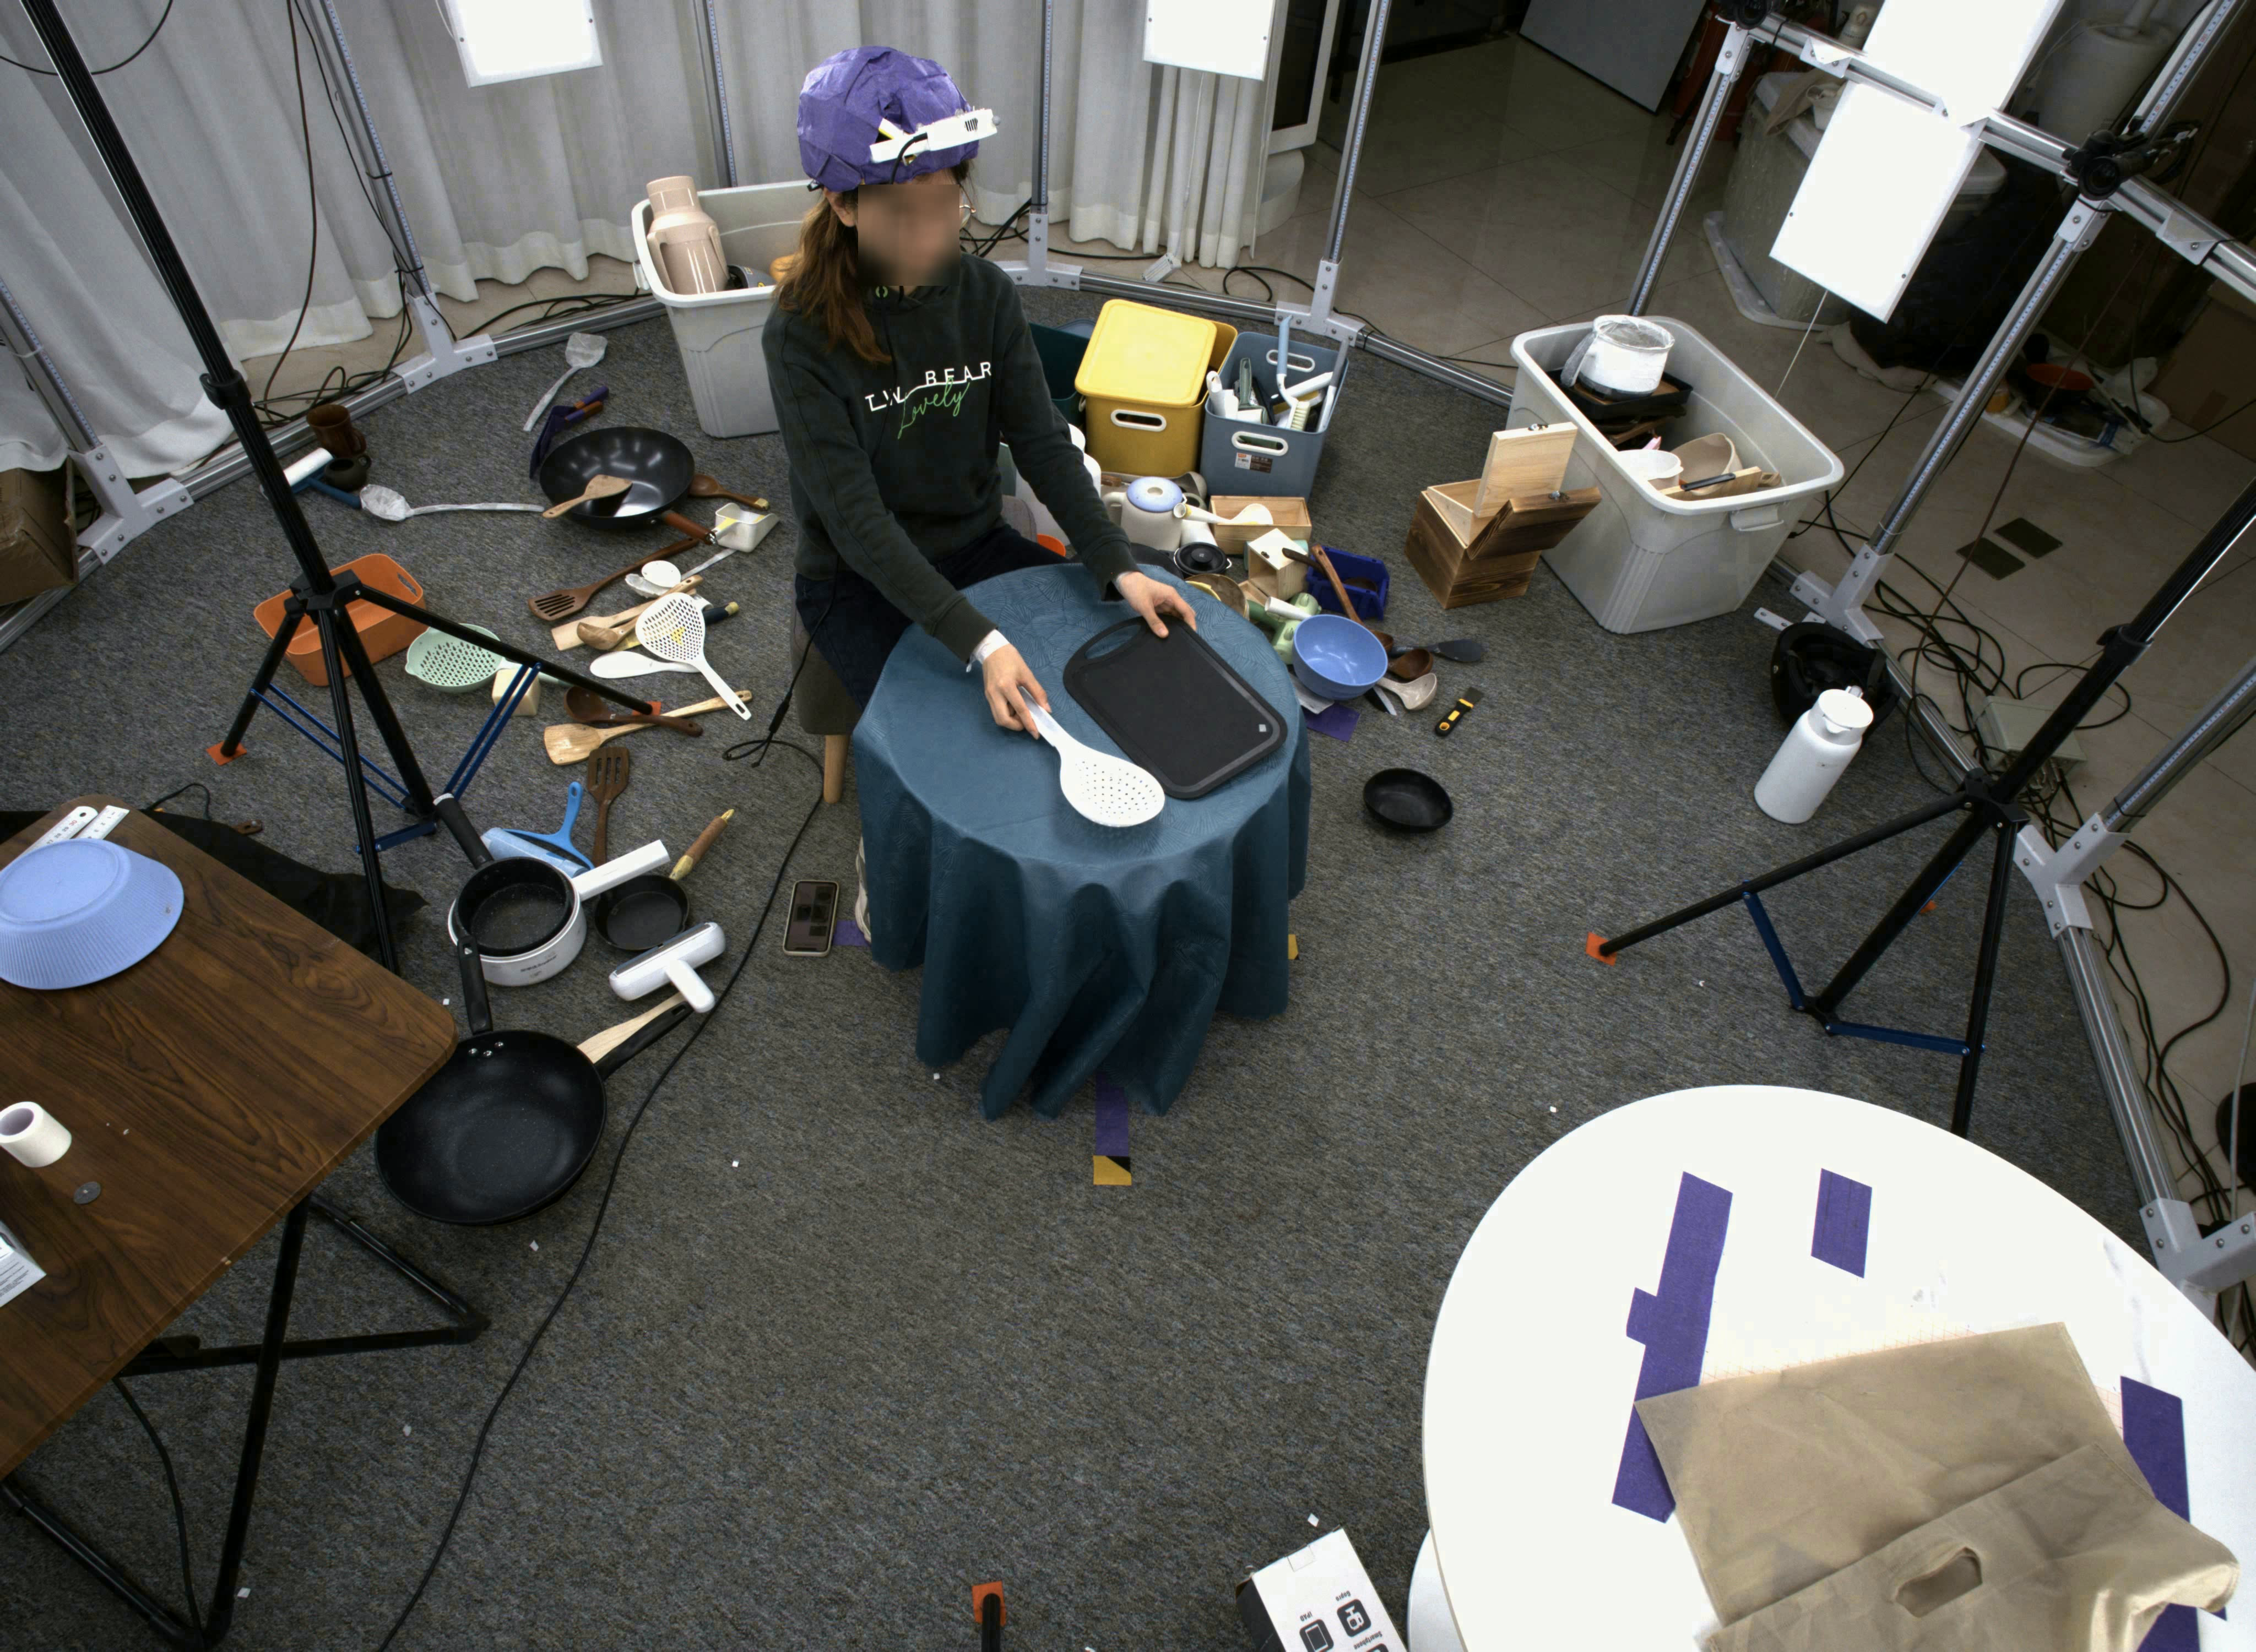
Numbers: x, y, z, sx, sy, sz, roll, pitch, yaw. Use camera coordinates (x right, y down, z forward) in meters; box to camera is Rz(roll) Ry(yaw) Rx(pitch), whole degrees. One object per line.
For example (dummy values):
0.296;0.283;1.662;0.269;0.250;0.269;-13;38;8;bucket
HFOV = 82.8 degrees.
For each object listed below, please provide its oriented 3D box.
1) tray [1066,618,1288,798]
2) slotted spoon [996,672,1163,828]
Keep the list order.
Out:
0.060;-0.180;1.822;0.212;0.009;0.331;-31;57;-18;tray
-0.082;-0.107;1.737;0.136;0.045;0.357;-15;51;-33;slotted spoon
